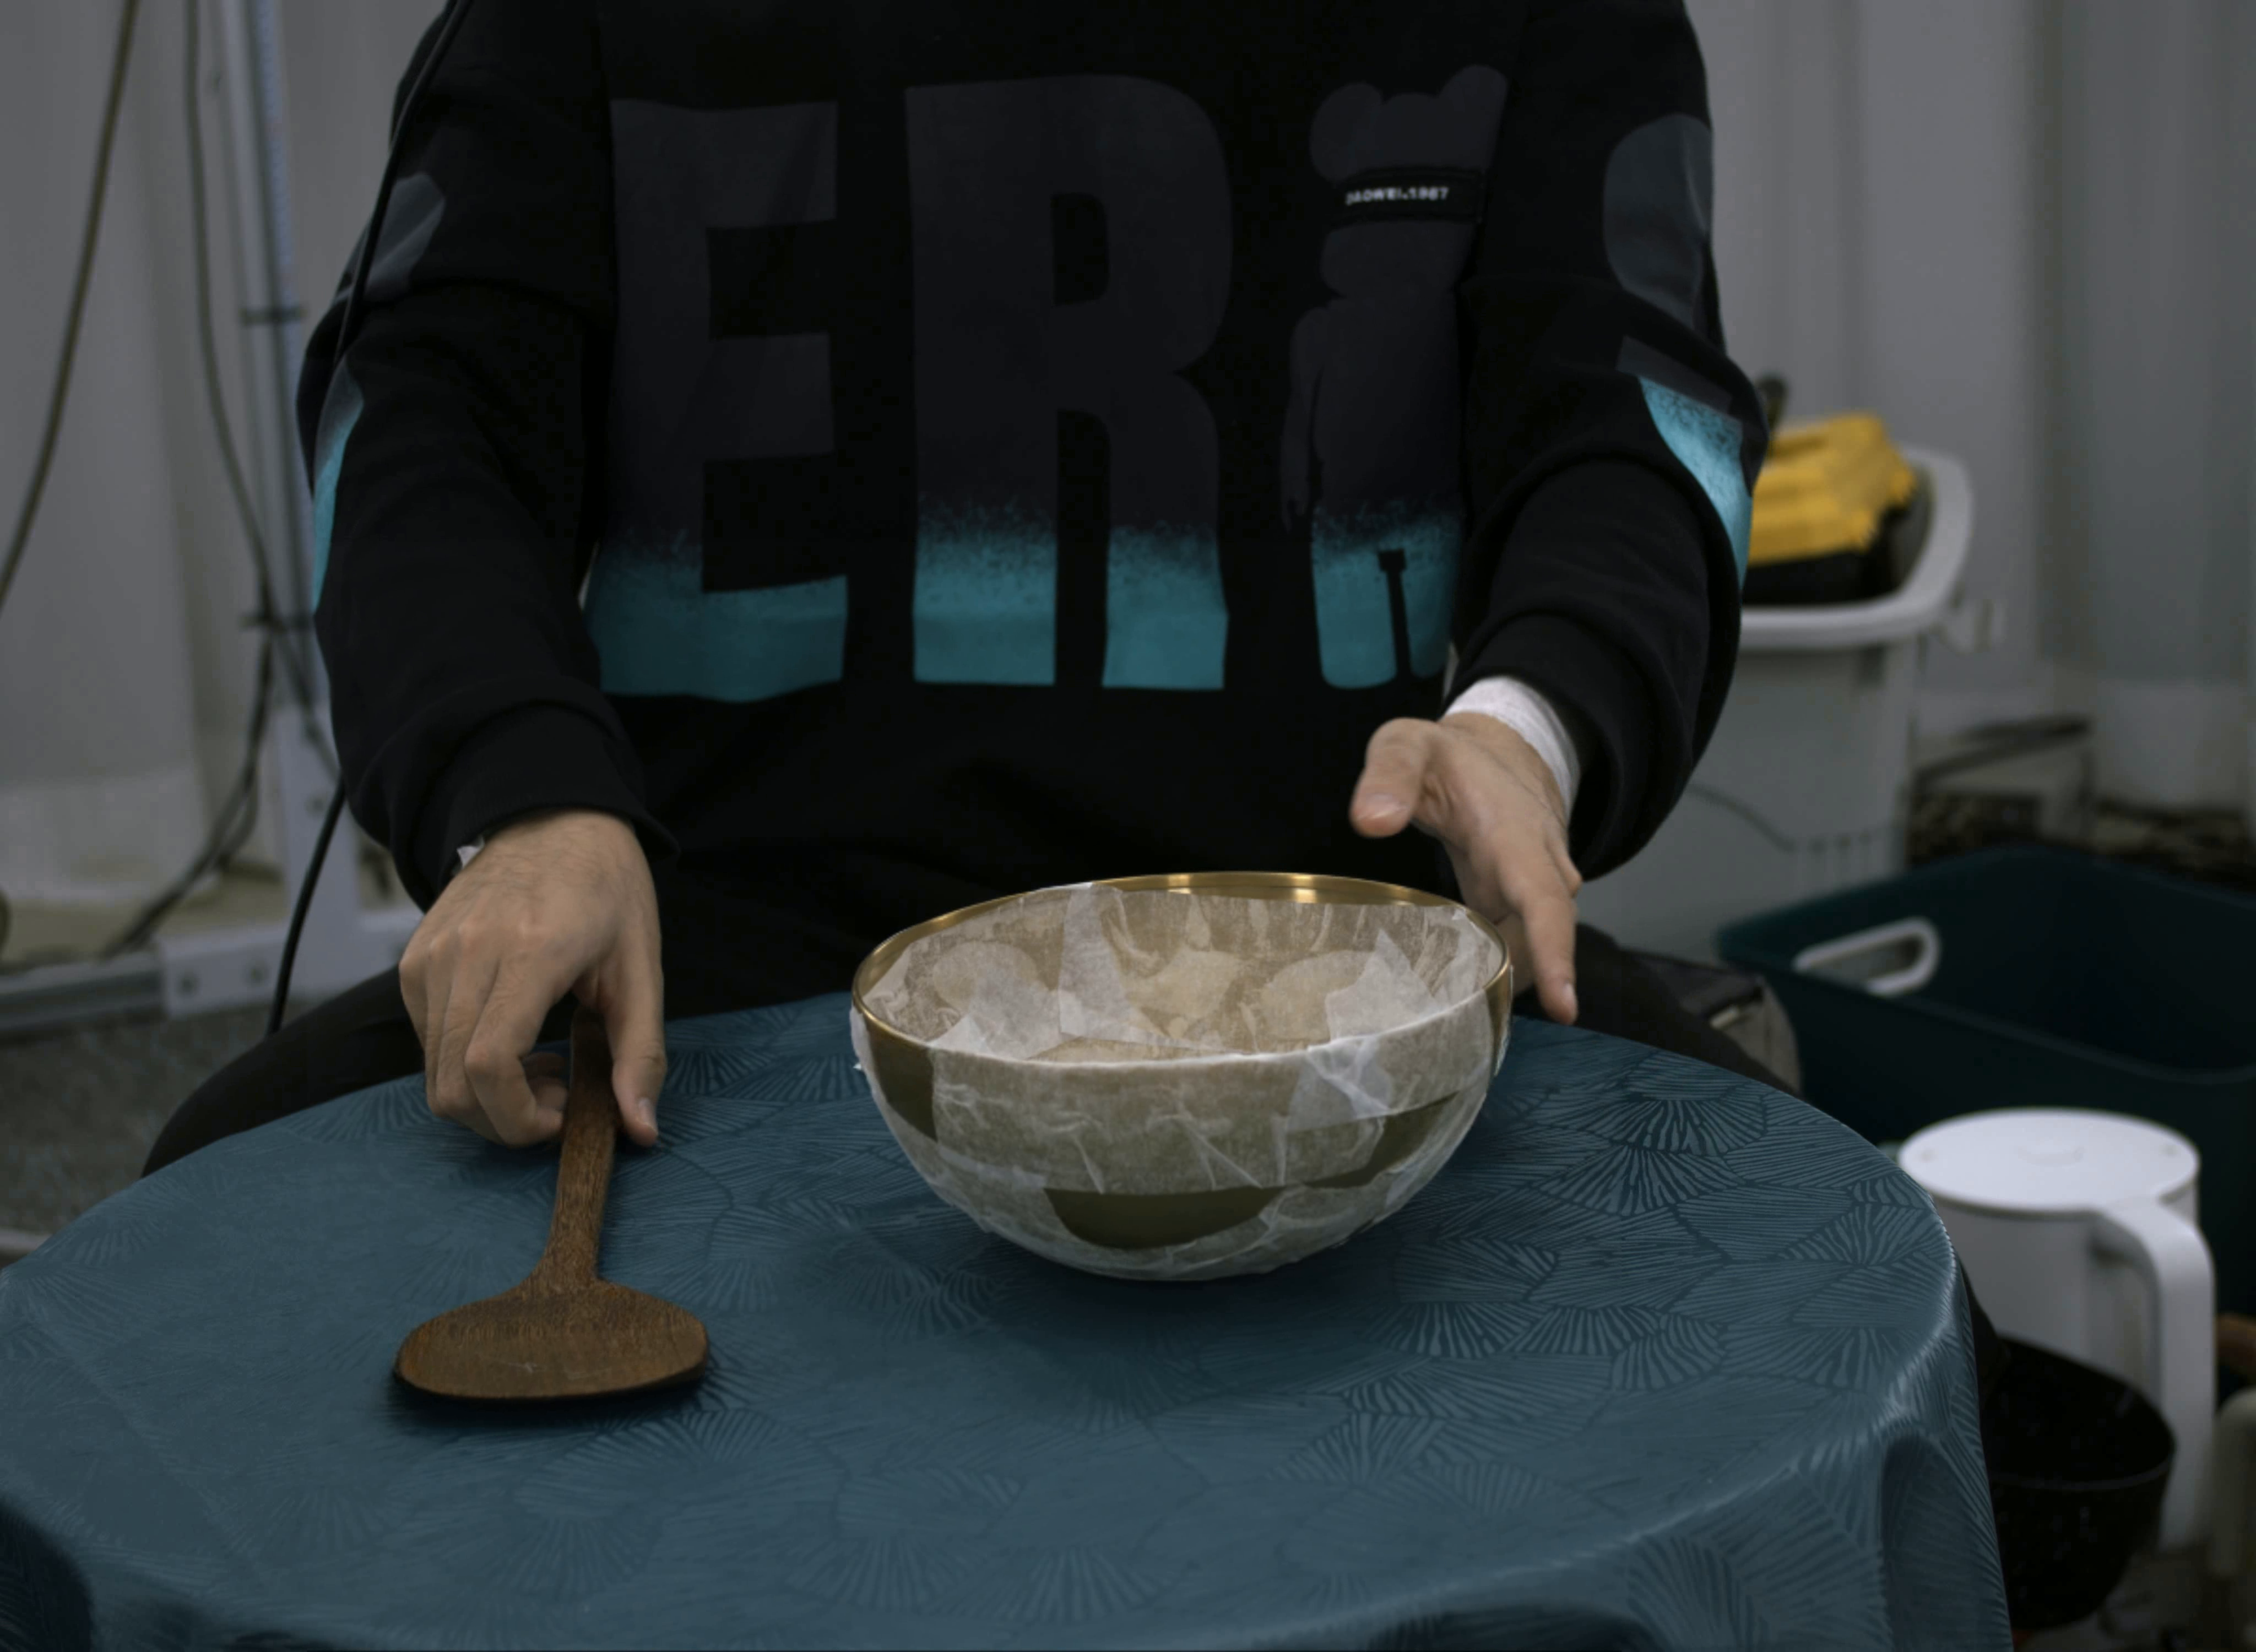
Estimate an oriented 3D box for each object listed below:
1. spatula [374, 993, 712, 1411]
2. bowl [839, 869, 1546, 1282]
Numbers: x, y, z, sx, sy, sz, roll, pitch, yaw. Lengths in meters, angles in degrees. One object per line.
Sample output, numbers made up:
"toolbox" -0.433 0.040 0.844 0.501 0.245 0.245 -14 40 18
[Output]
"spatula" -0.172 0.112 1.723 0.096 0.016 0.389 -2 16 -1
"bowl" 0.020 0.083 1.653 0.214 0.094 0.216 -4 13 1
